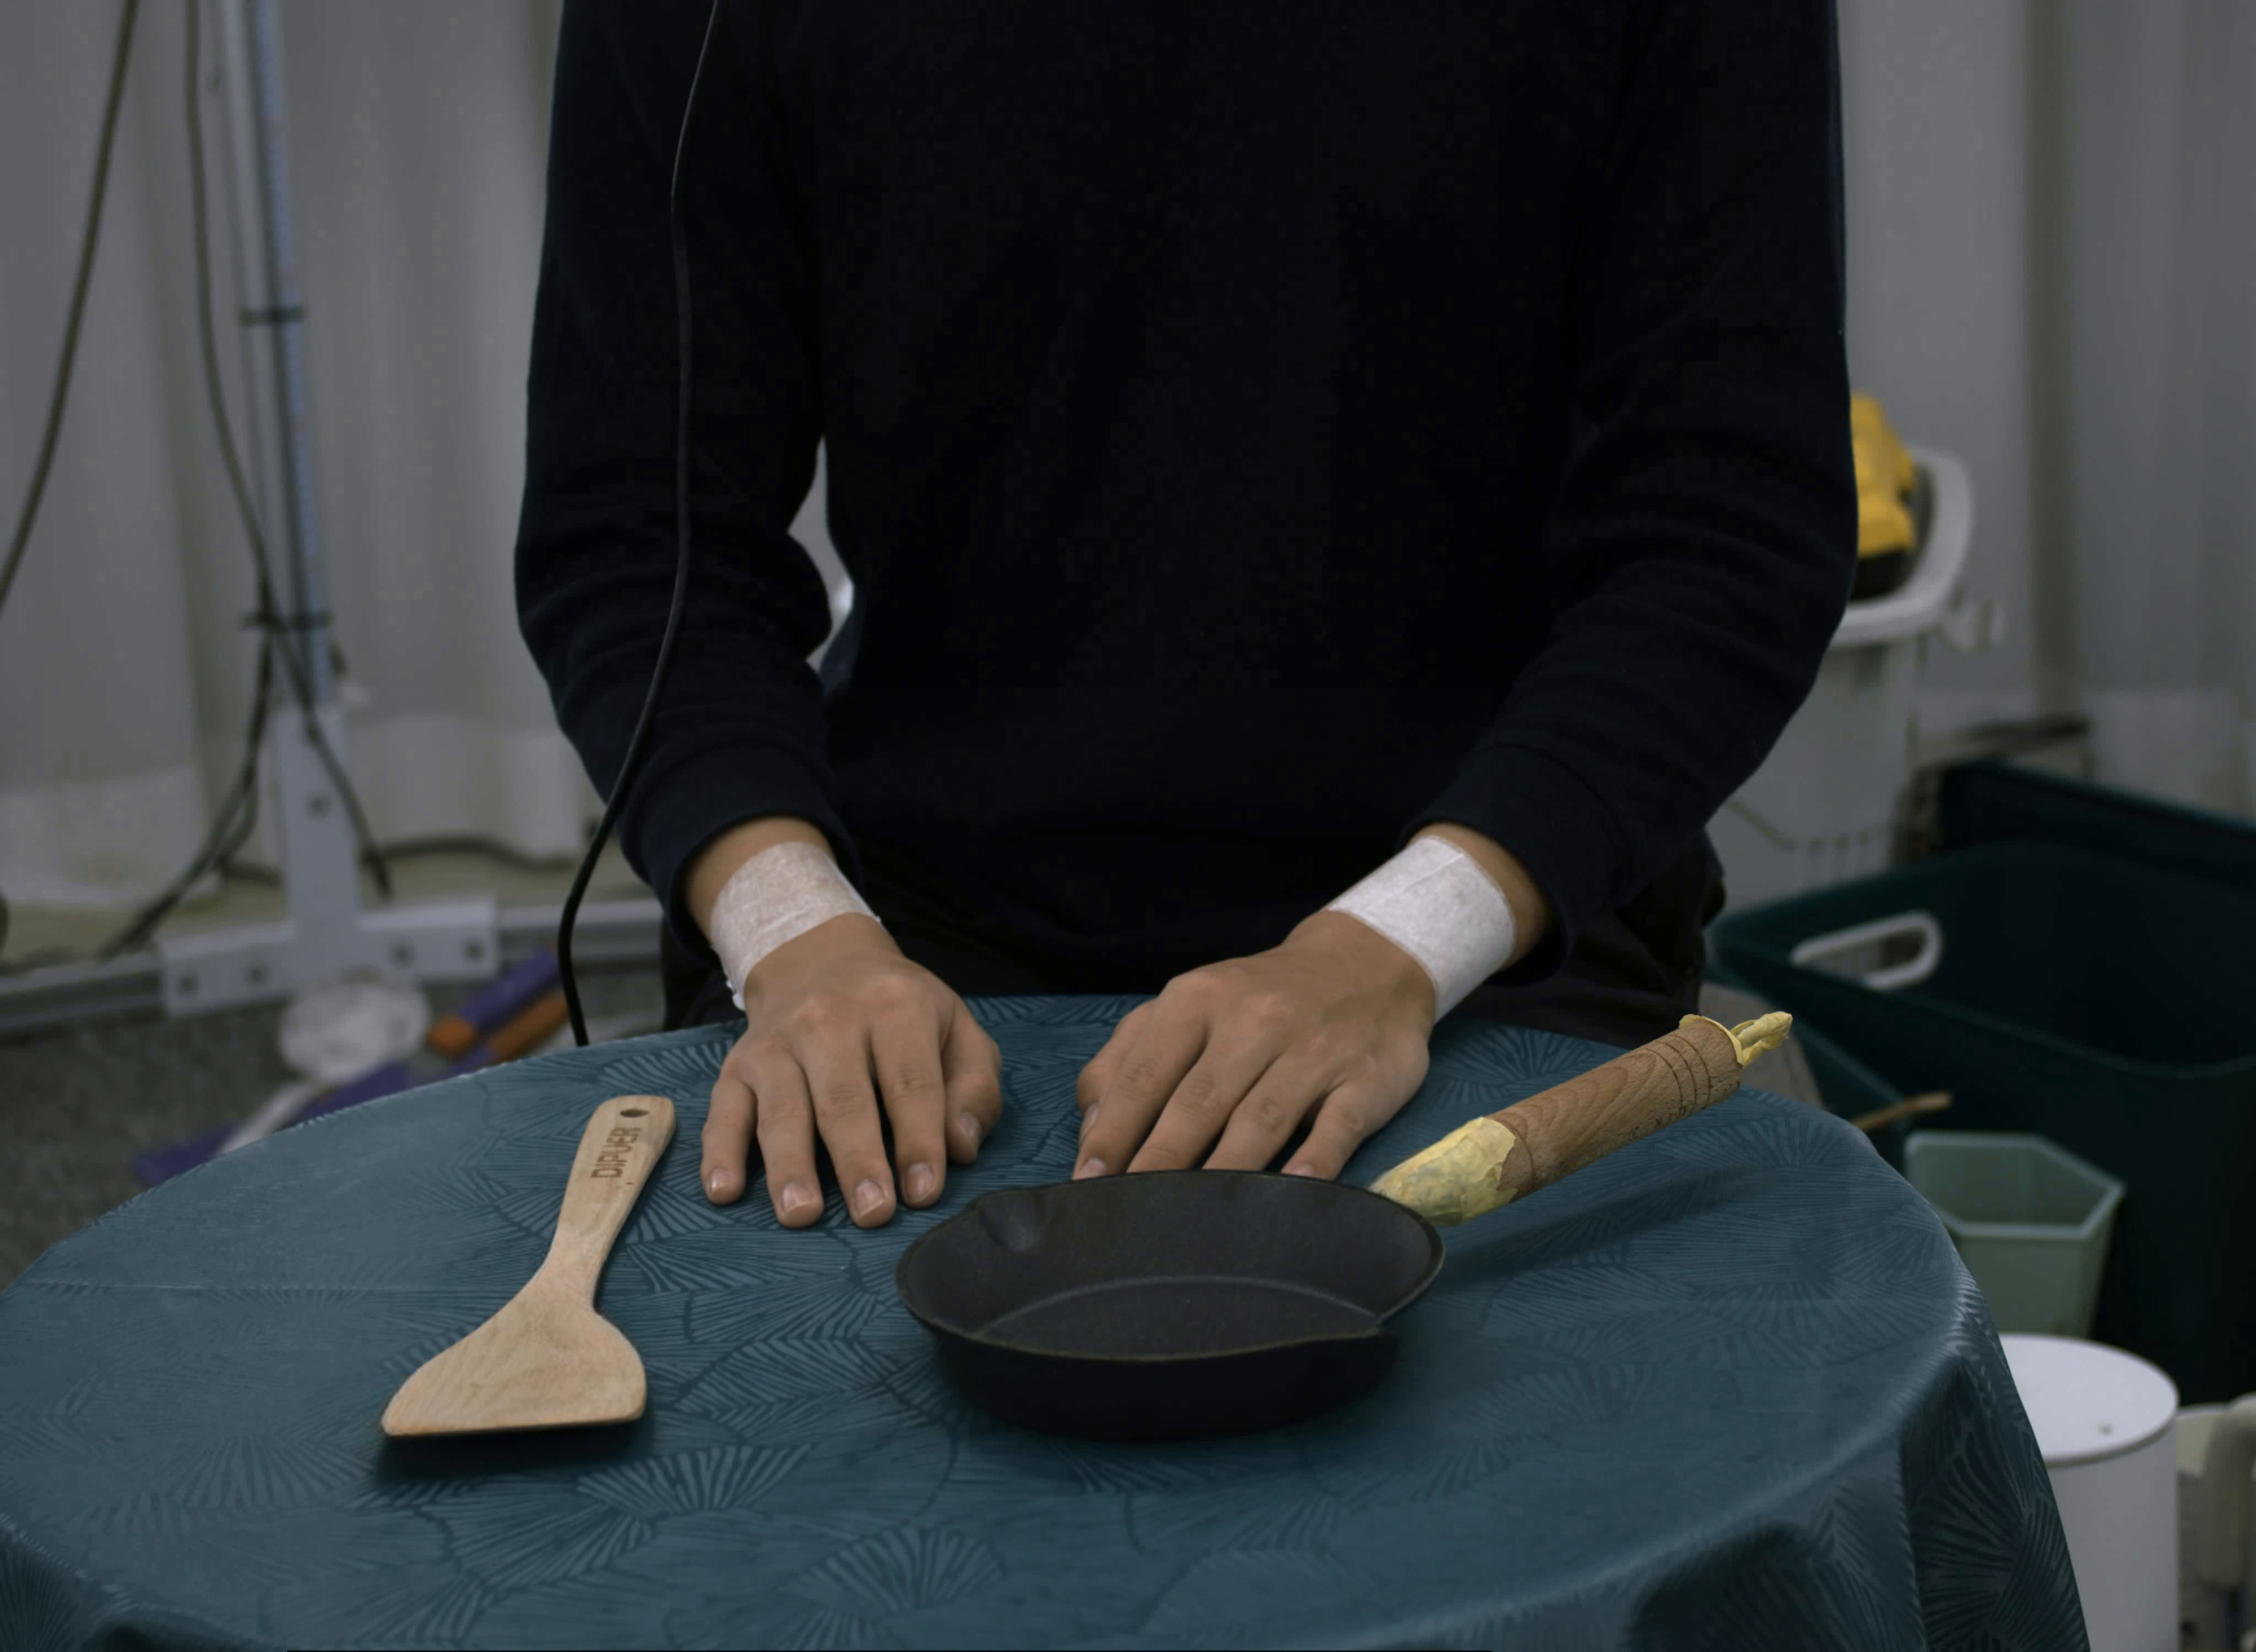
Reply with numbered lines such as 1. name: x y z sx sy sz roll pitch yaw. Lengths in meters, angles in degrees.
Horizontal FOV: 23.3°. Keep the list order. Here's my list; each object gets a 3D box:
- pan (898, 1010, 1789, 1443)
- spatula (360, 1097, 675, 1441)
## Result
1. pan: 0.079 0.113 1.607 0.323 0.049 0.170 -16 19 -35
2. spatula: -0.167 0.131 1.657 0.080 0.016 0.330 -1 15 3
